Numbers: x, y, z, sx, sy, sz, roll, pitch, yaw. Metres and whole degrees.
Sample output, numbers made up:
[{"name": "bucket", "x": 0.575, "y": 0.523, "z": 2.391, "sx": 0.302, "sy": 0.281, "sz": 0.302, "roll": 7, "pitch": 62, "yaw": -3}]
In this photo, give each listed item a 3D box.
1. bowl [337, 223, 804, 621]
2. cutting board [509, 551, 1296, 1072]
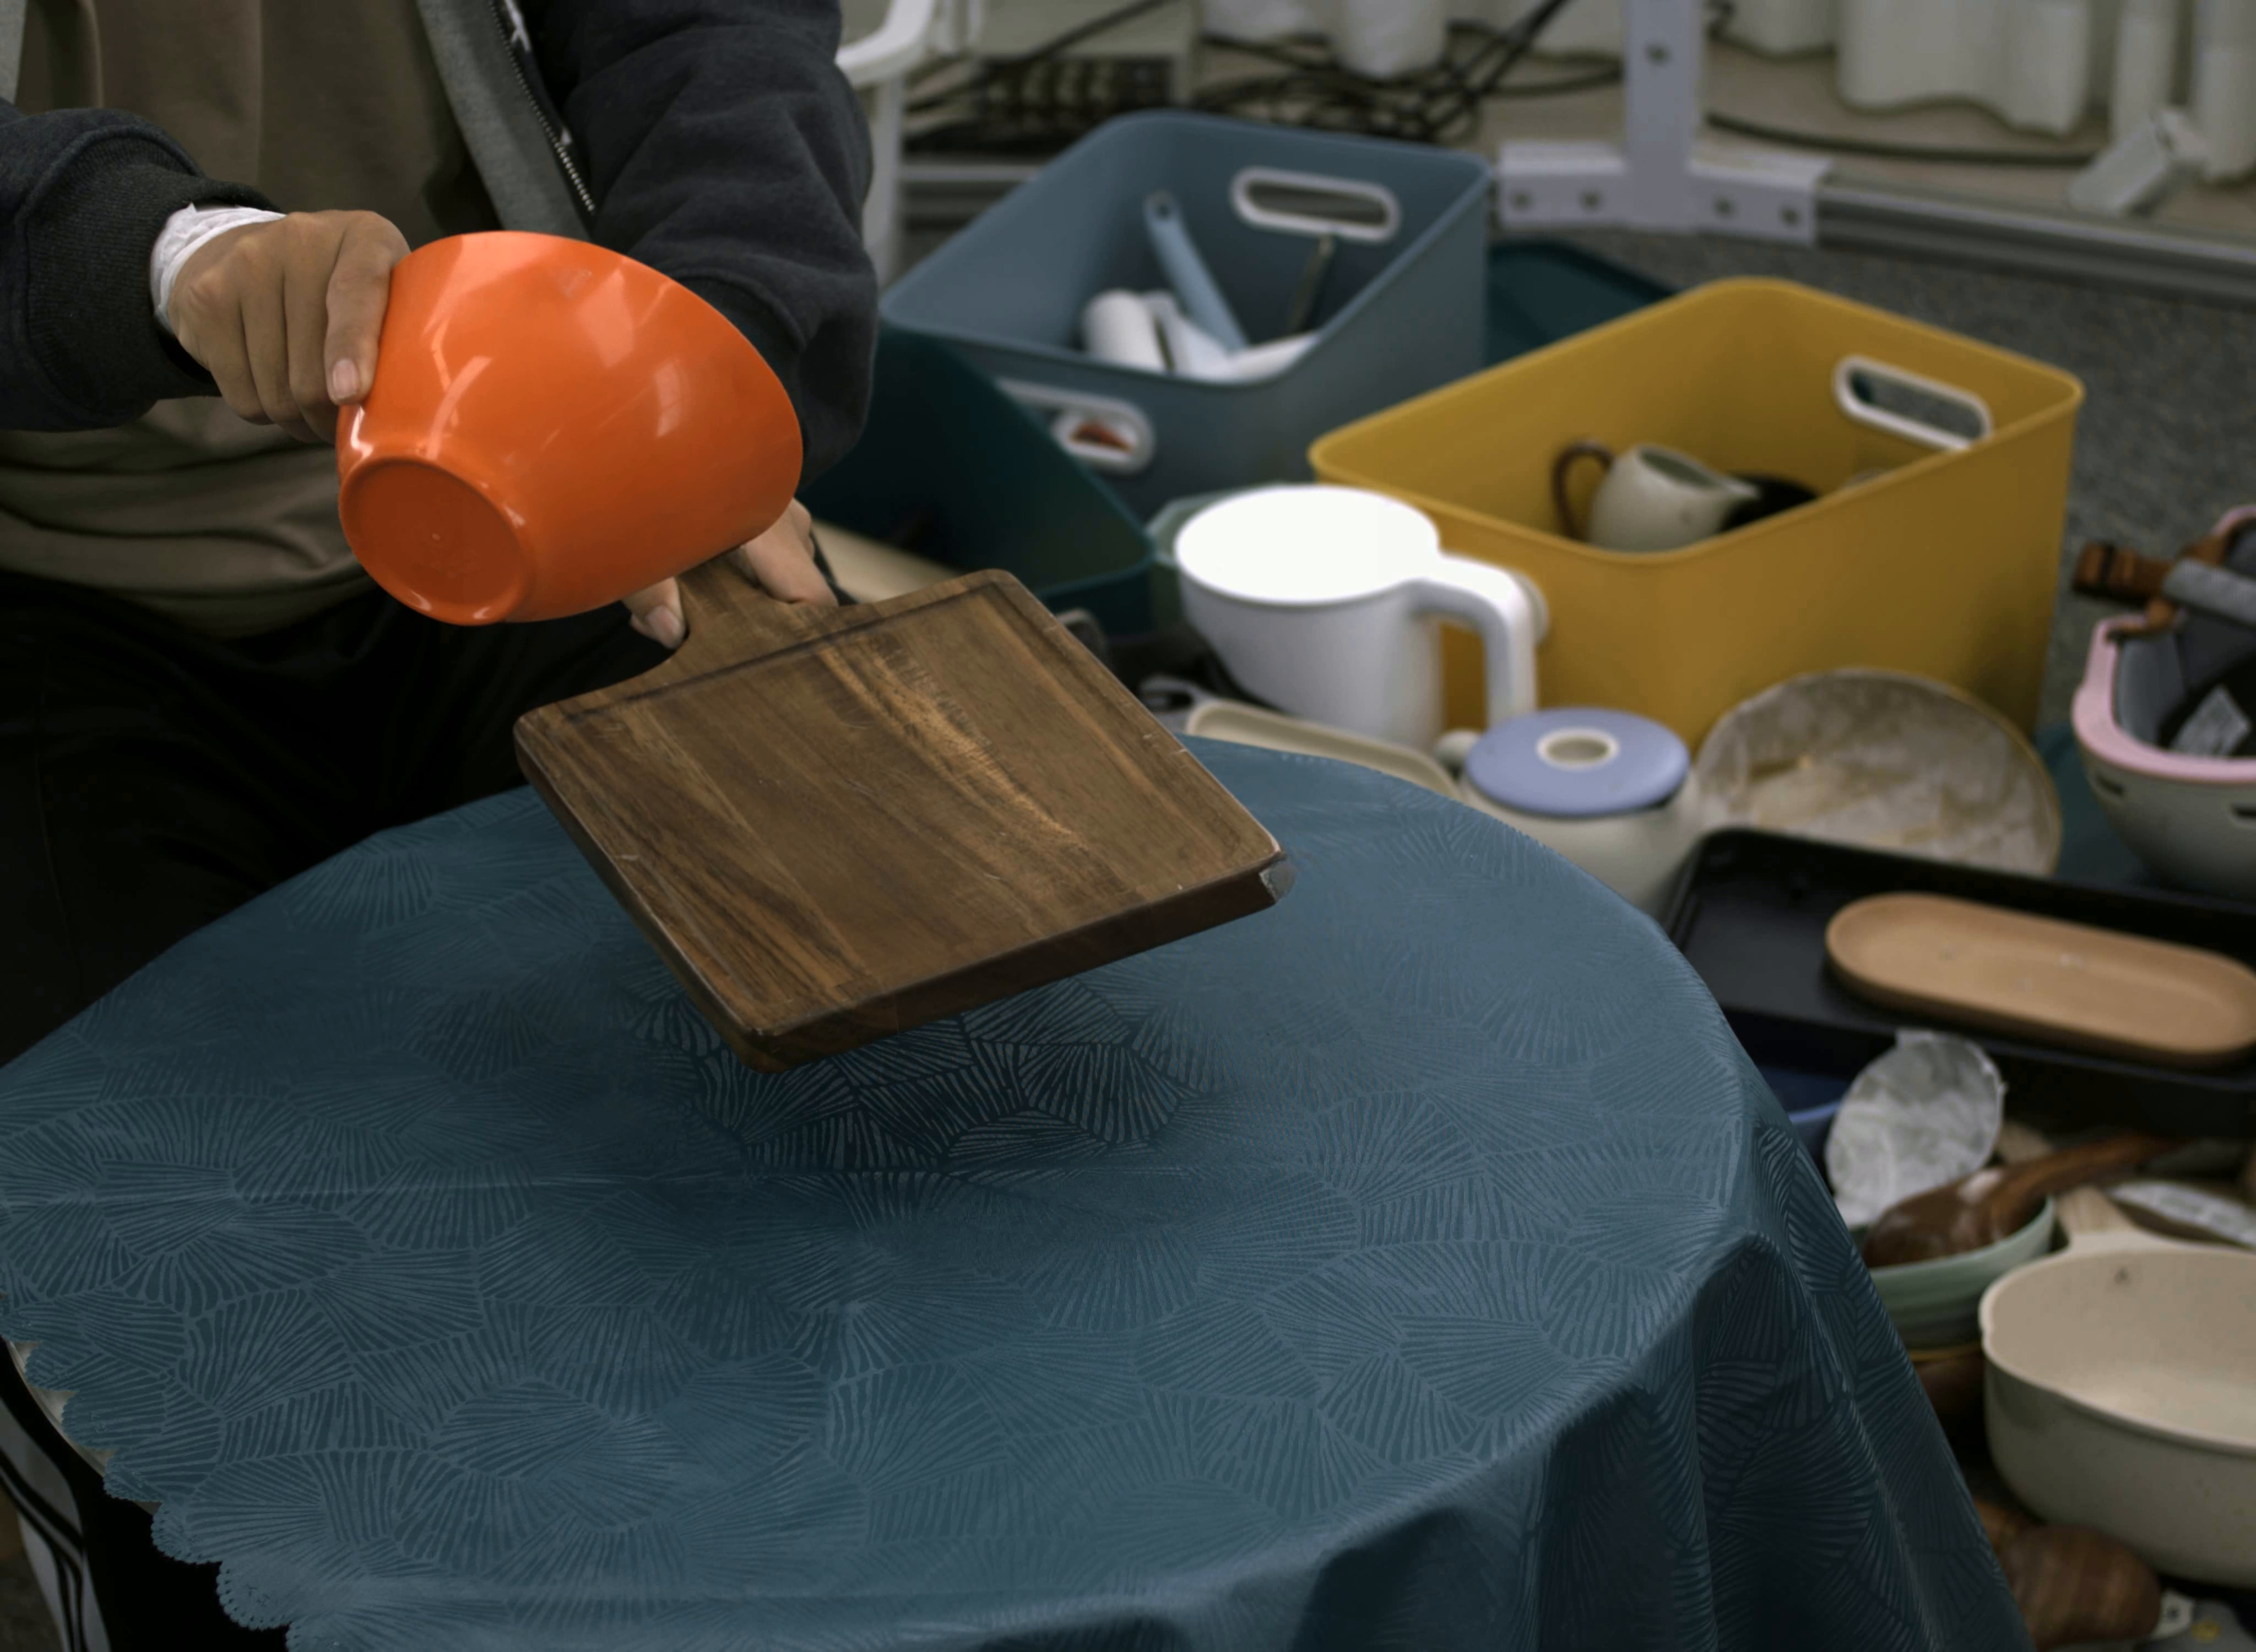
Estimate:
[{"name": "bowl", "x": -0.190, "y": -0.113, "z": 1.796, "sx": 0.147, "sy": 0.146, "sz": 0.107, "roll": 10, "pitch": 42, "yaw": 23}, {"name": "cutting board", "x": -0.101, "y": -0.028, "z": 1.971, "sx": 0.202, "sy": 0.023, "sz": 0.354, "roll": -18, "pitch": 31, "yaw": -18}]
